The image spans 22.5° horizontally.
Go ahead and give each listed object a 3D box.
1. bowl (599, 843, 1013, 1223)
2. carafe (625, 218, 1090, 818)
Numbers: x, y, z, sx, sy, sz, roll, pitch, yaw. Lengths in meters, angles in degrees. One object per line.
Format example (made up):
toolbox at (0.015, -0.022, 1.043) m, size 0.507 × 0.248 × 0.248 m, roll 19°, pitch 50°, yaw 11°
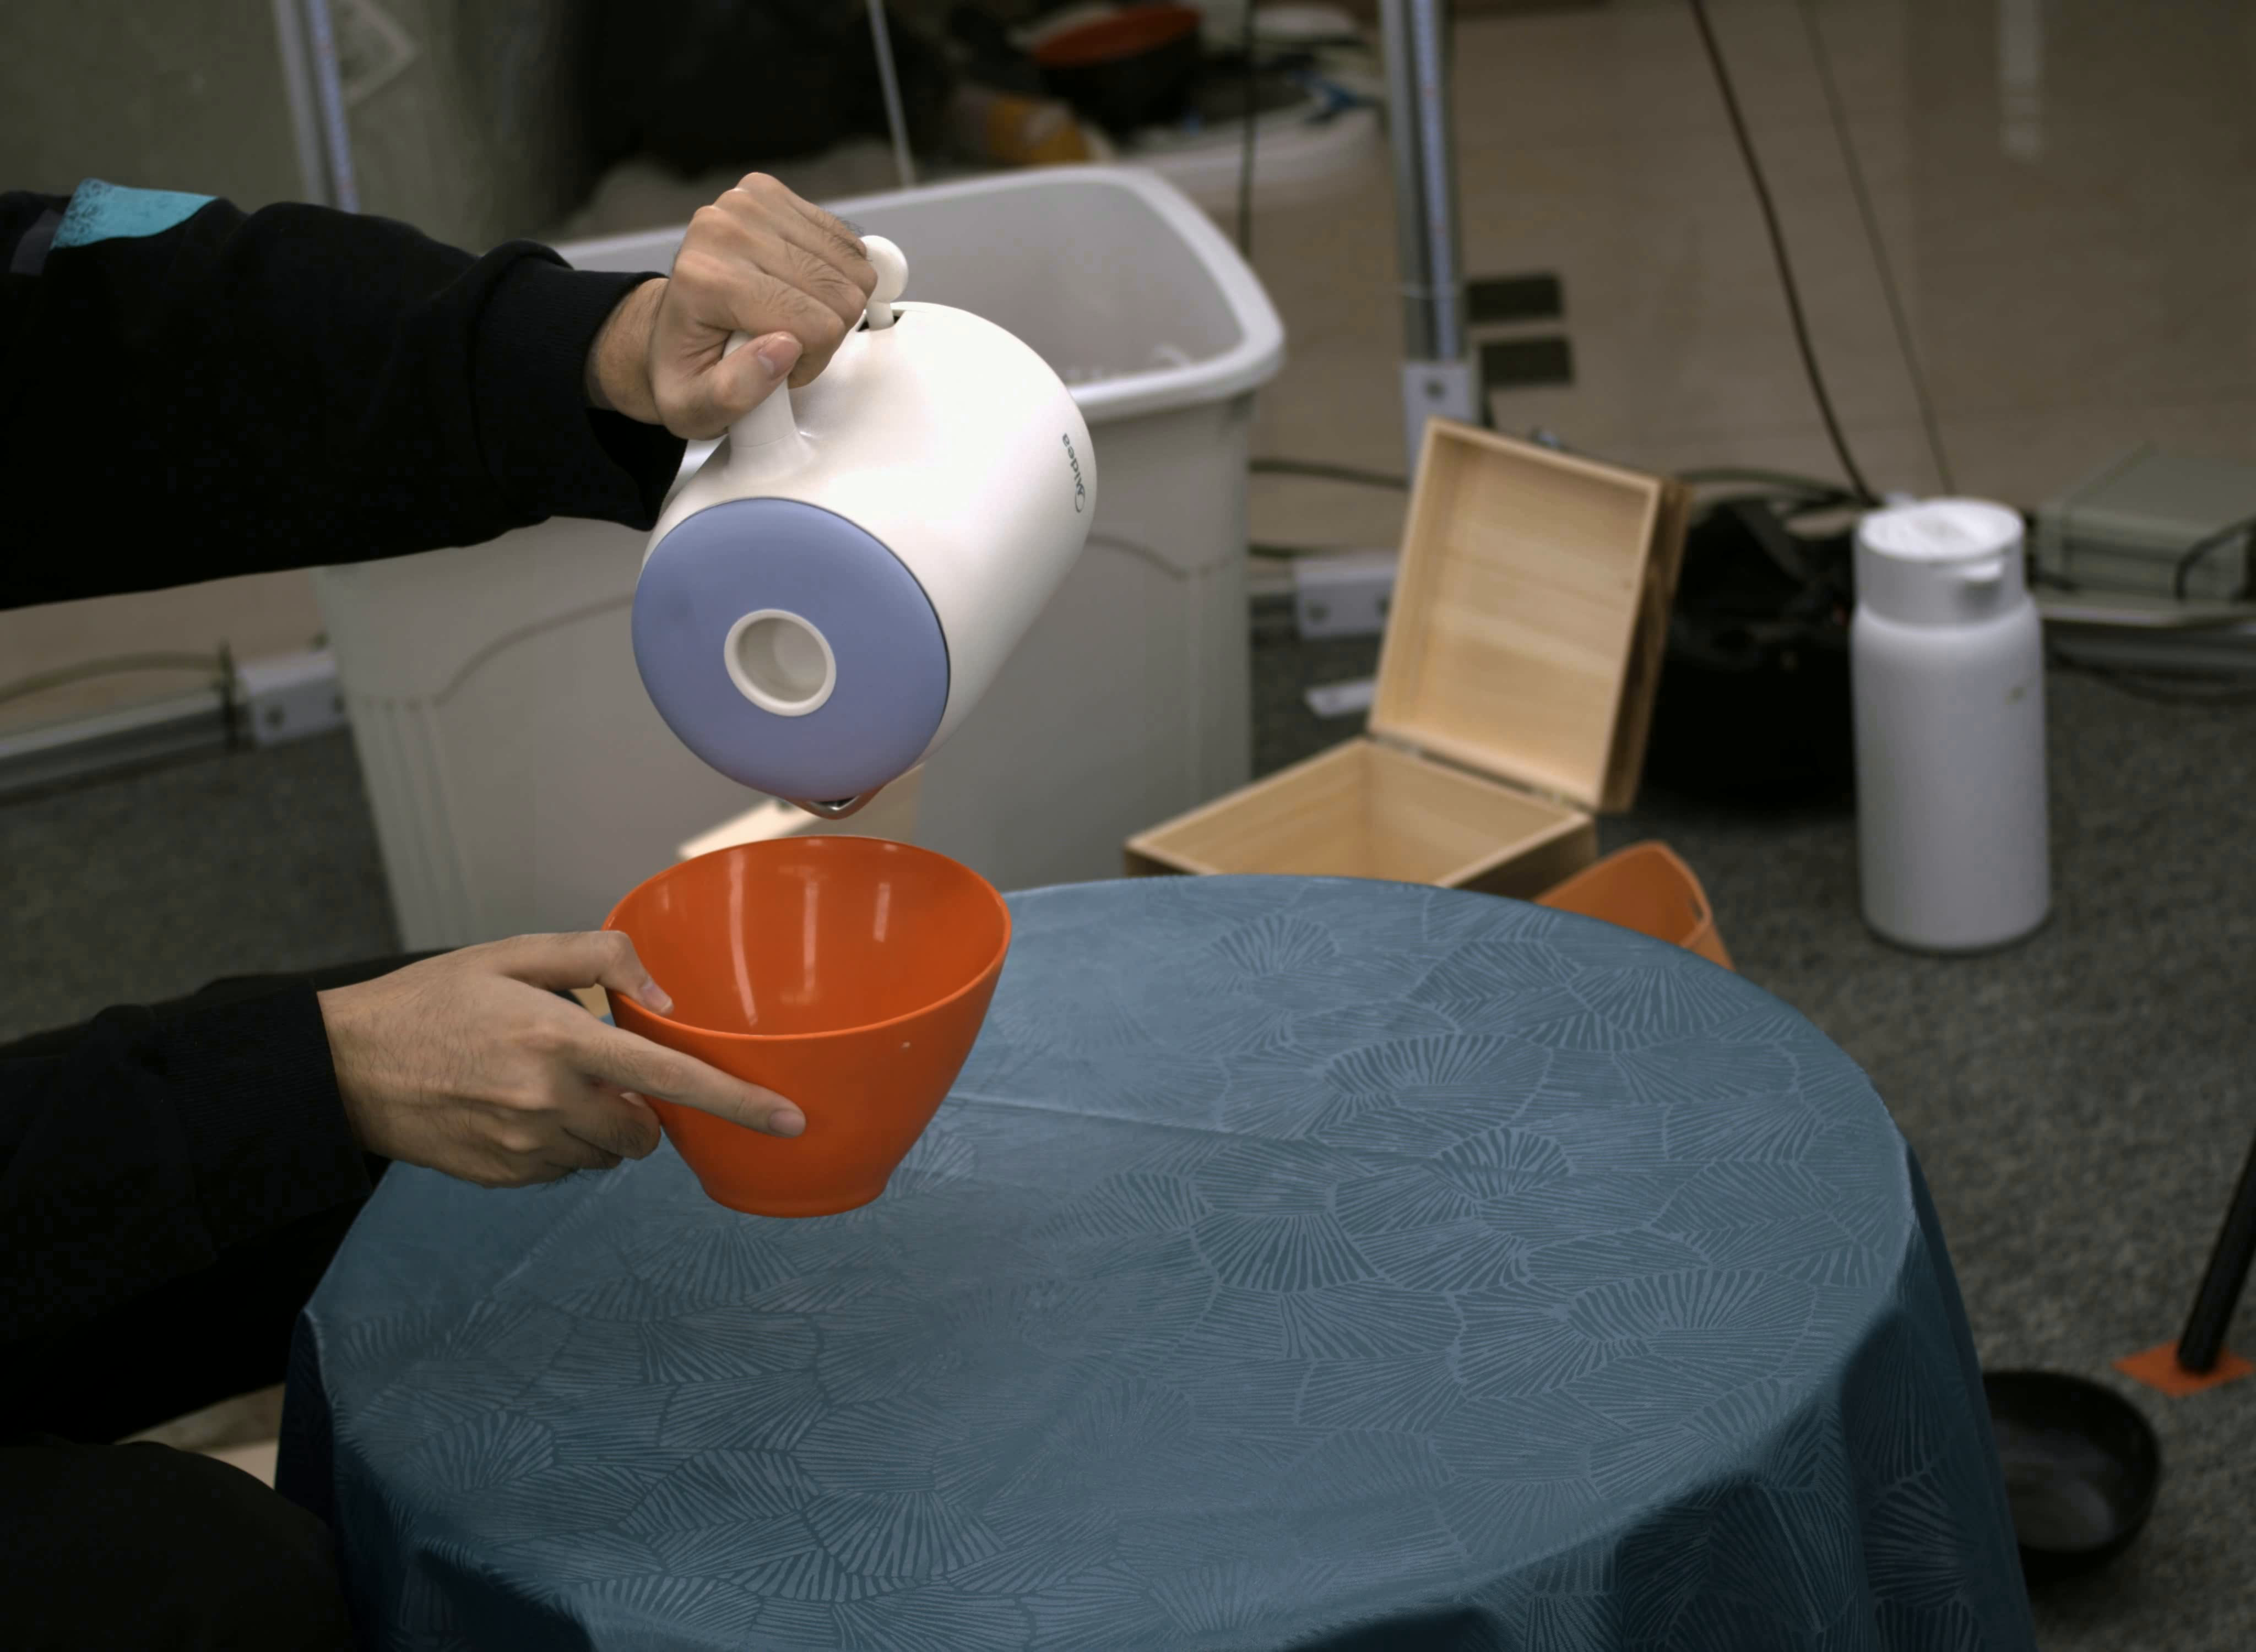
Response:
bowl at (-0.115, 0.078, 2.027) m, size 0.148 × 0.106 × 0.146 m, roll 1°, pitch 19°, yaw 0°
carafe at (-0.103, -0.122, 2.041) m, size 0.132 × 0.194 × 0.180 m, roll -5°, pitch 25°, yaw 21°
